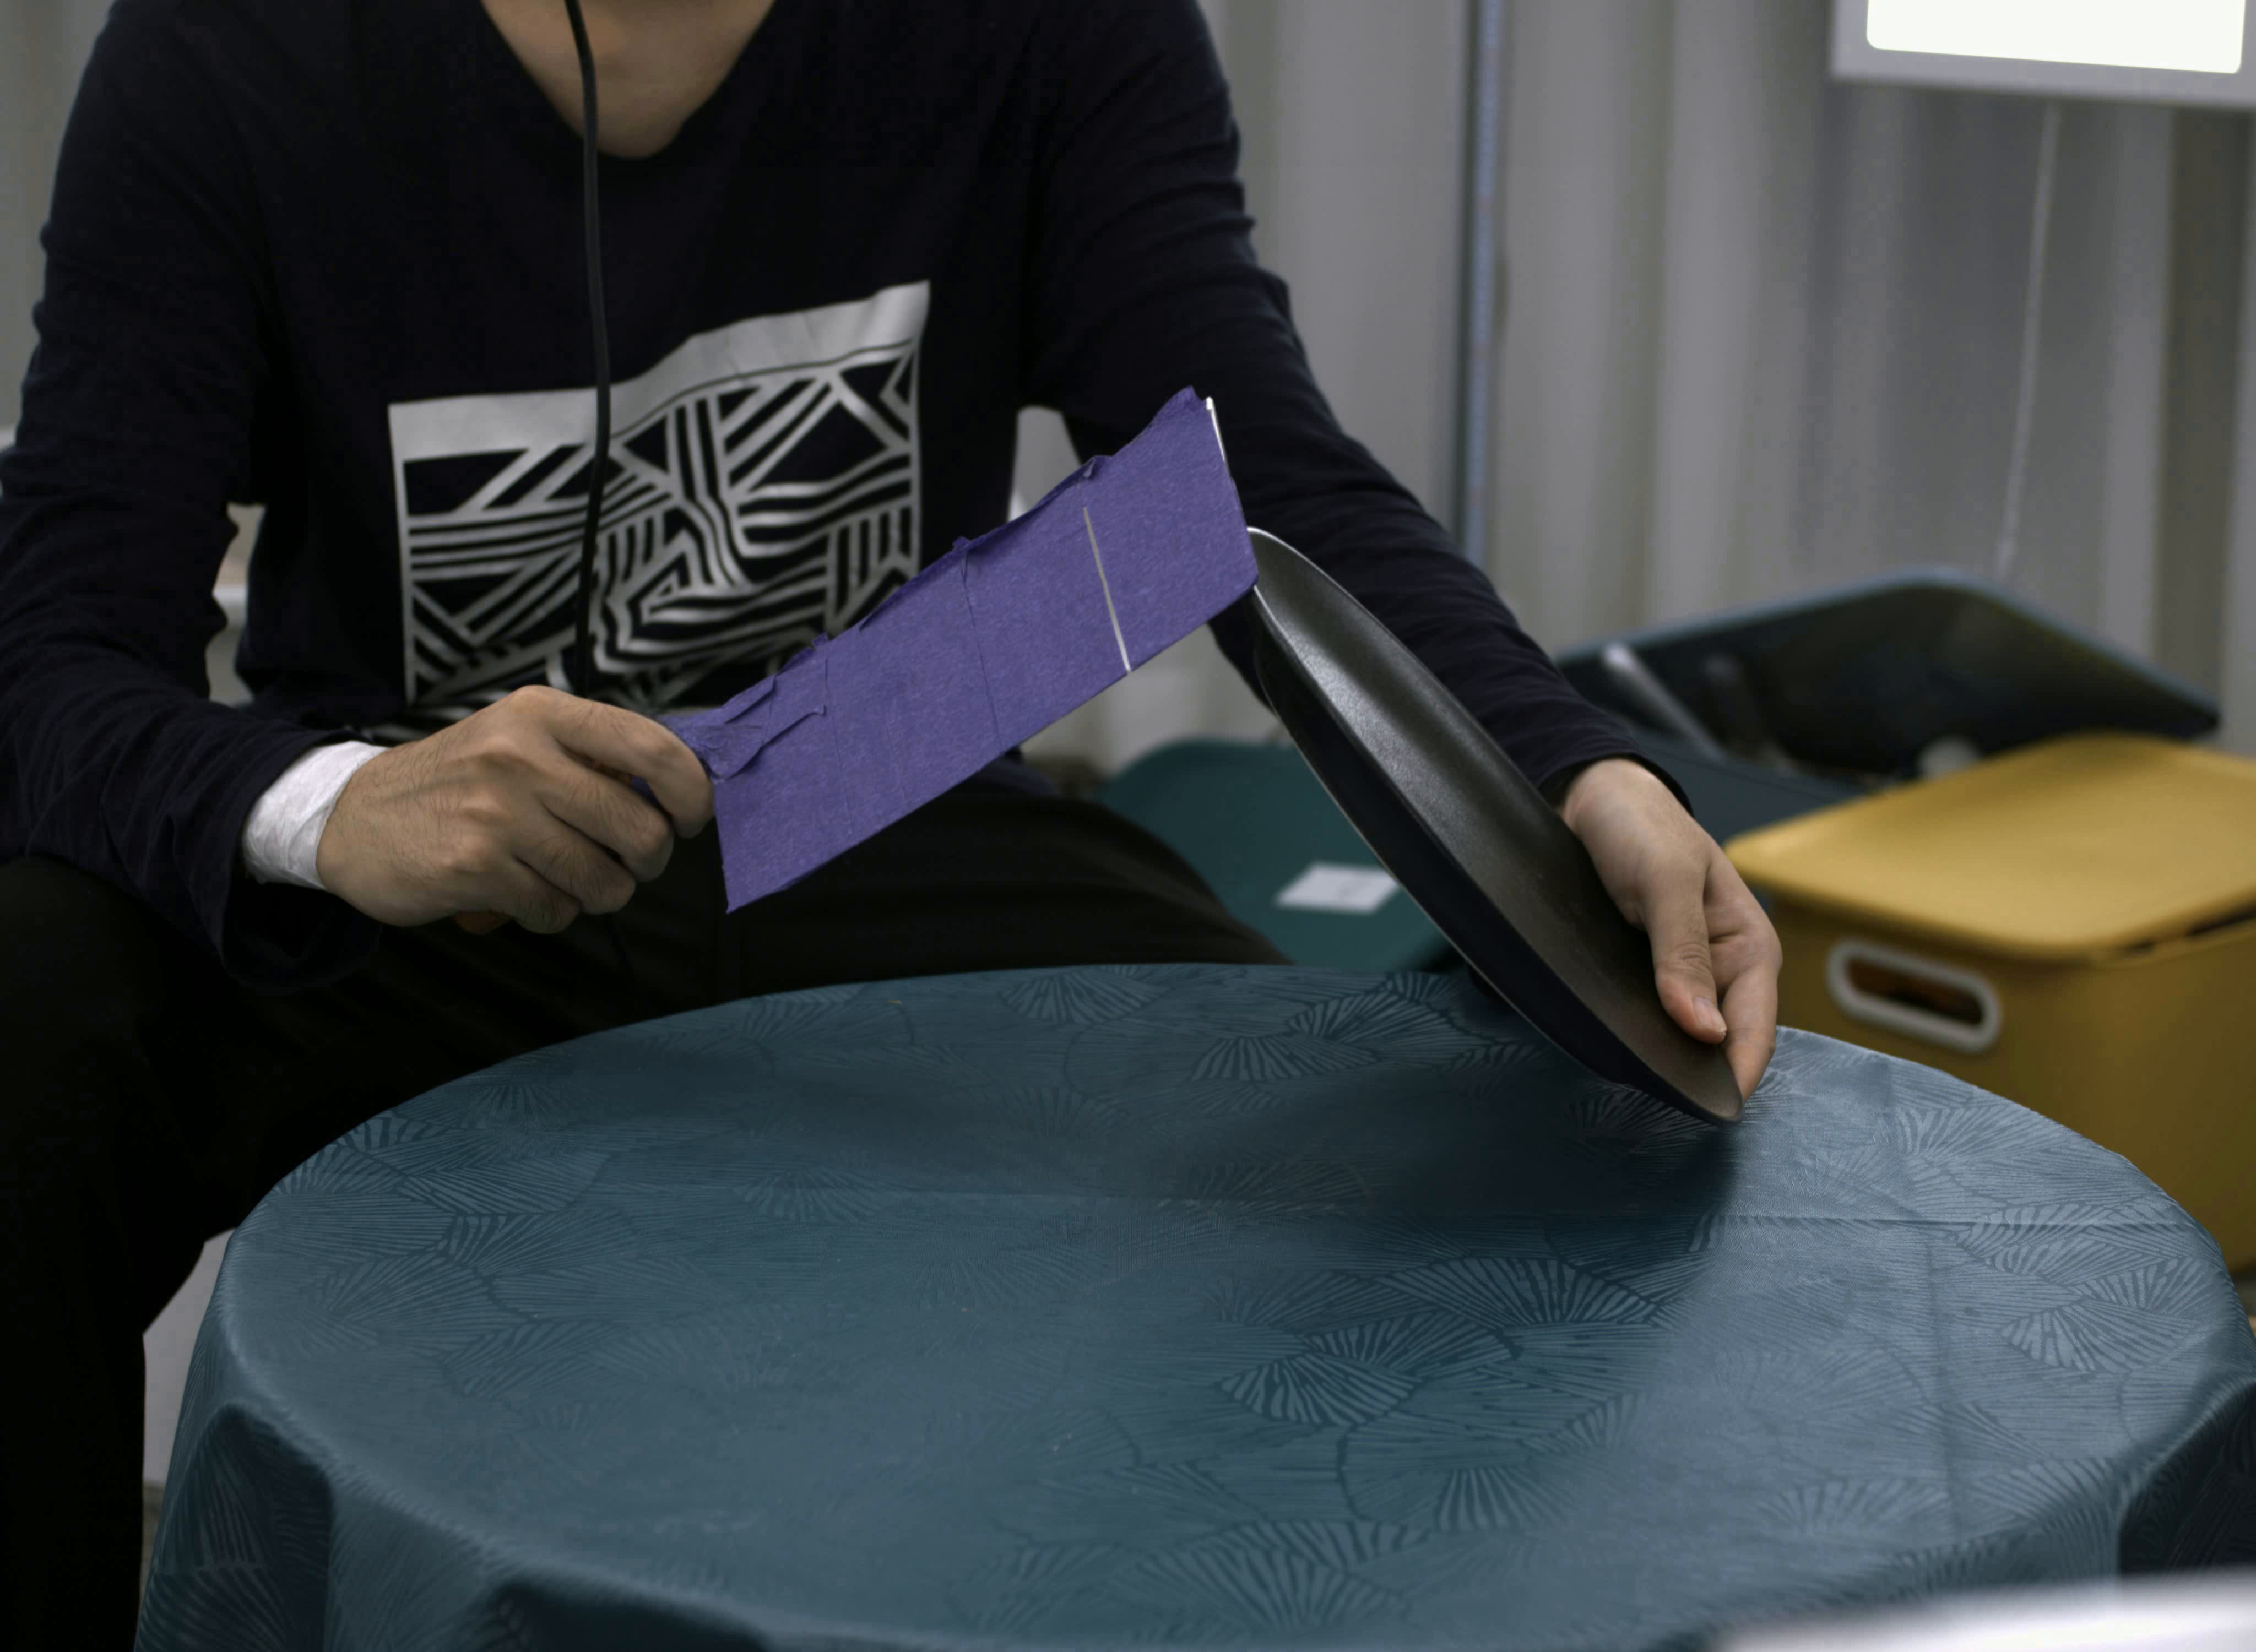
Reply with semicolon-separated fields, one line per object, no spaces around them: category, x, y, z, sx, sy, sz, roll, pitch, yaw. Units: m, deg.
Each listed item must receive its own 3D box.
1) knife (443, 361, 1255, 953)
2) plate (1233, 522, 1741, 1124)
knife;-0.092;-0.031;1.662;0.314;0.032;0.103;-34;42;21
plate;0.106;0.004;1.653;0.023;0.246;0.243;-40;12;11
